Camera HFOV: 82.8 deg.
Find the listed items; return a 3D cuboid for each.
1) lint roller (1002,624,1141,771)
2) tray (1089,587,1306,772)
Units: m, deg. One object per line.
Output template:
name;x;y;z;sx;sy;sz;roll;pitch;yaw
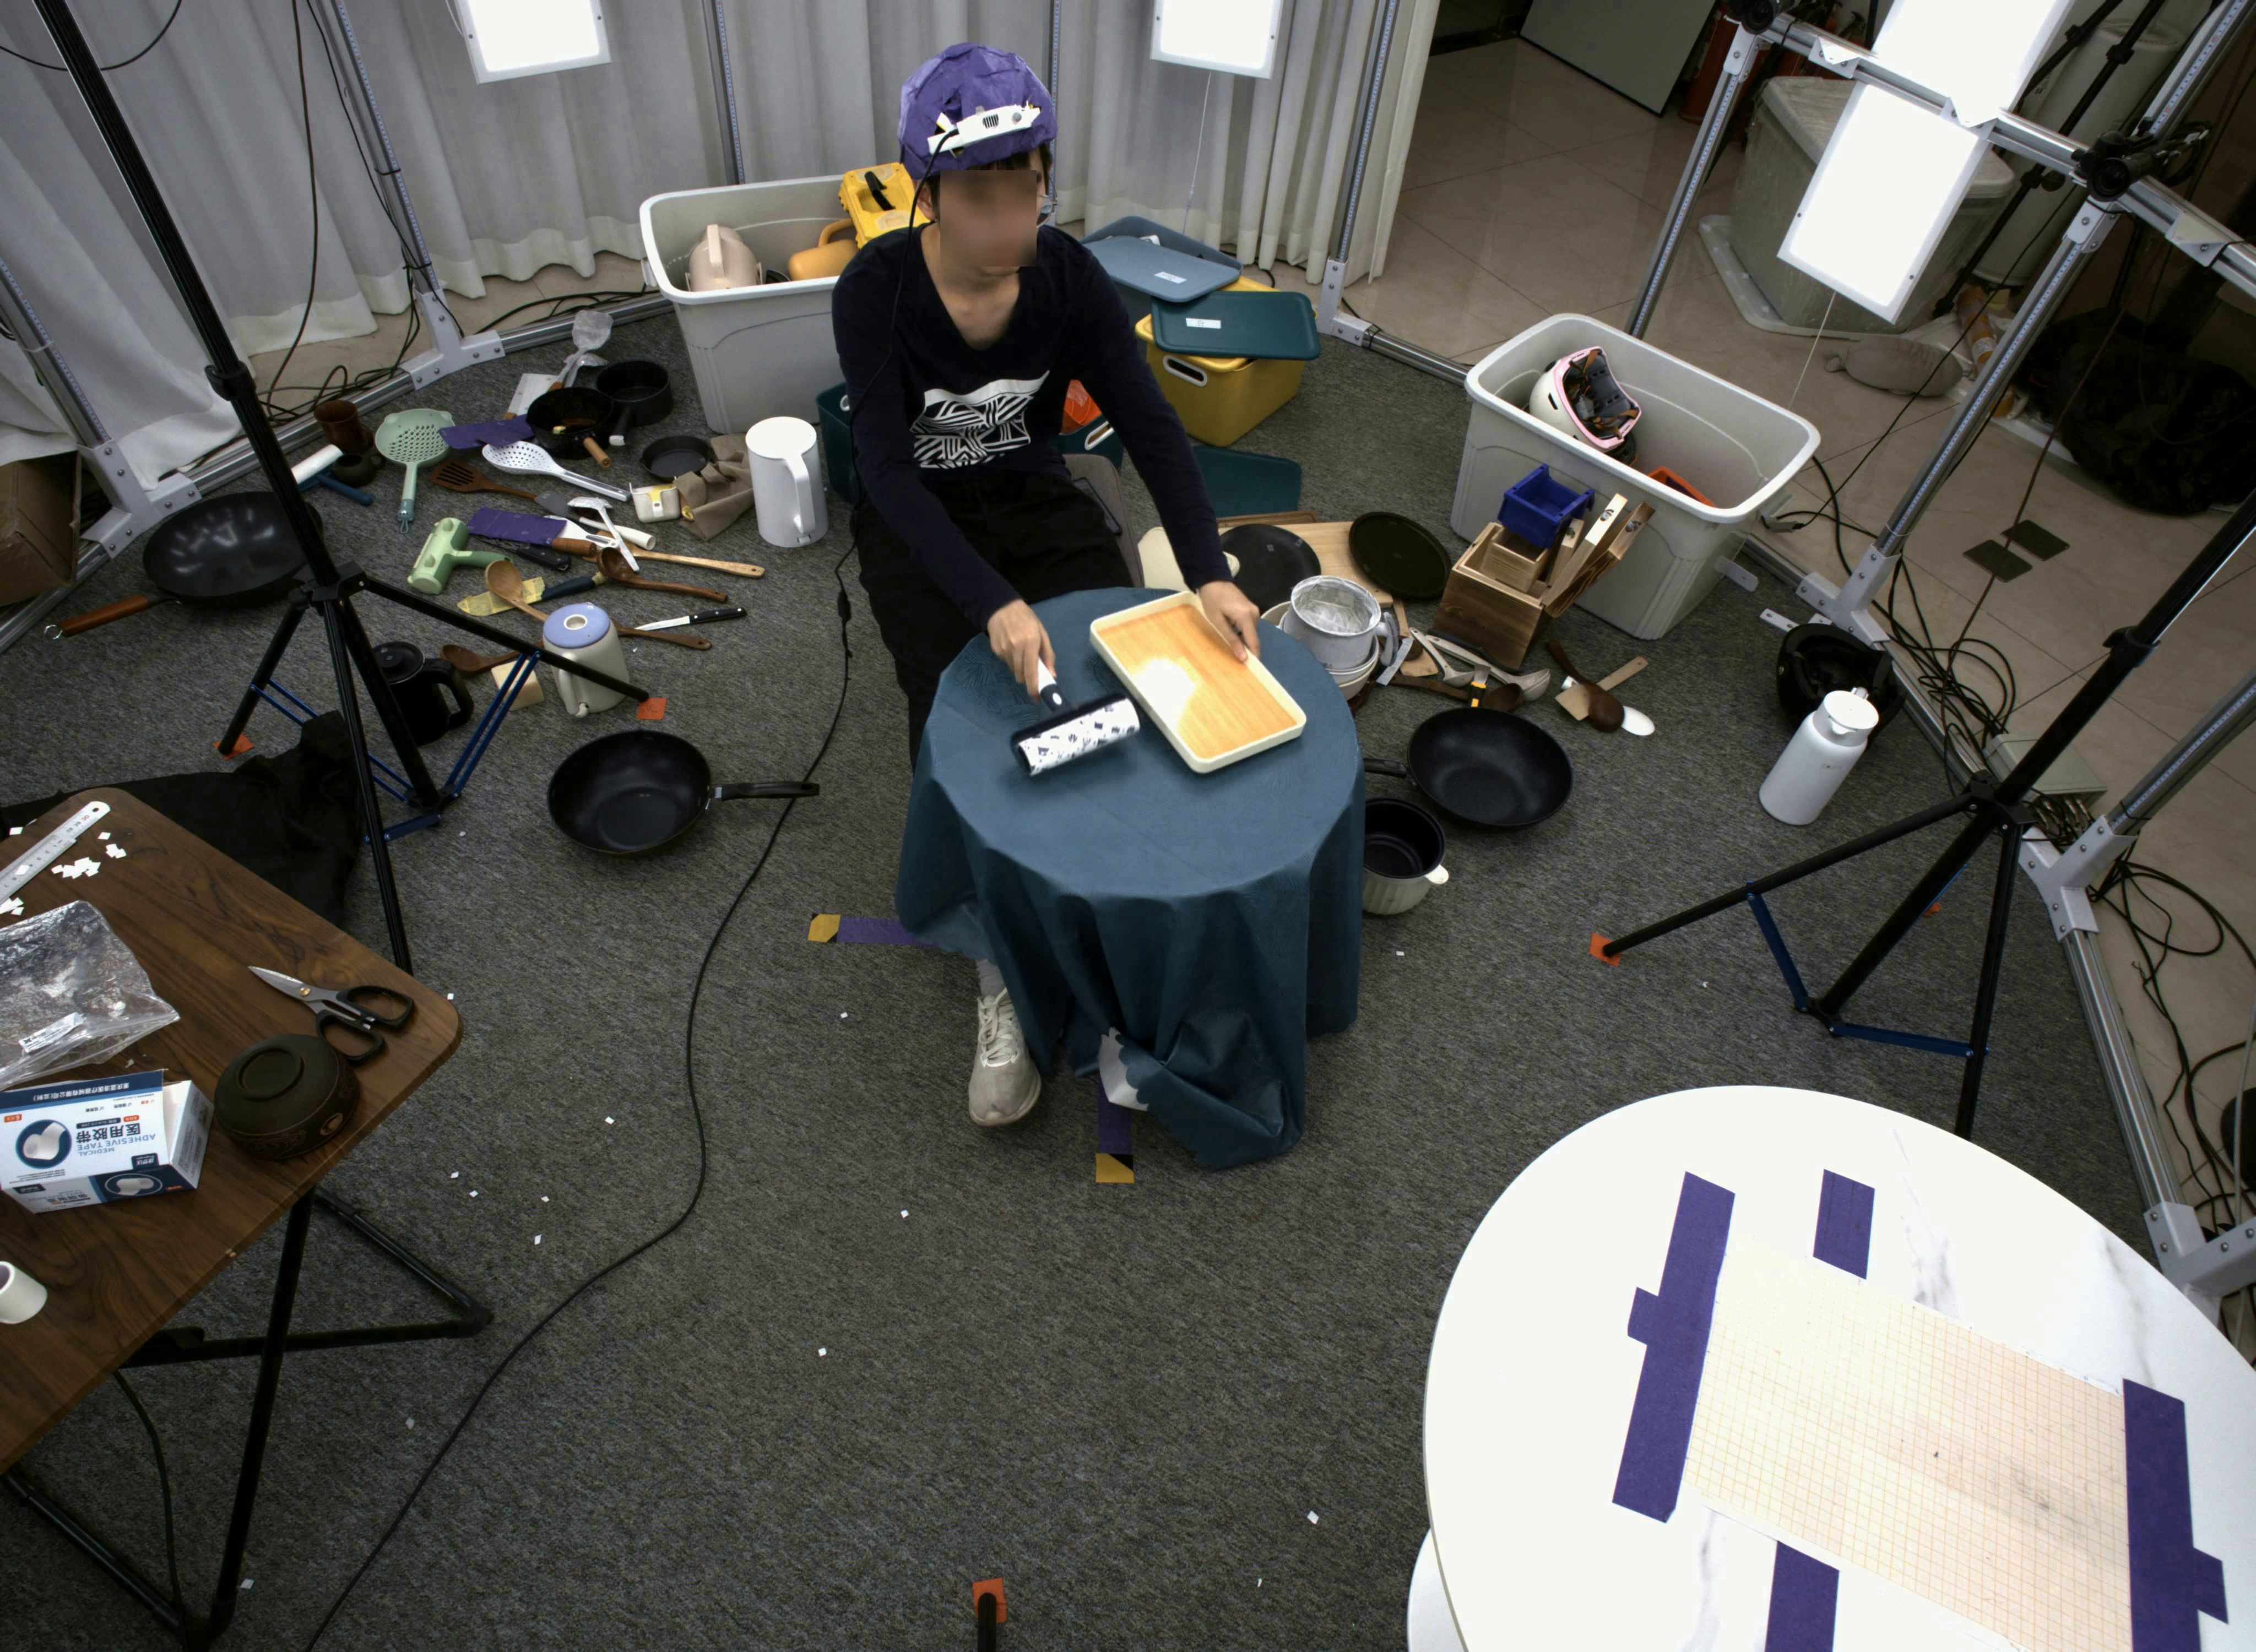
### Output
lint roller;-0.115;-0.198;1.758;0.177;0.049;0.252;-26;58;-13
tray;0.095;-0.214;1.815;0.192;0.027;0.306;-21;57;-23
